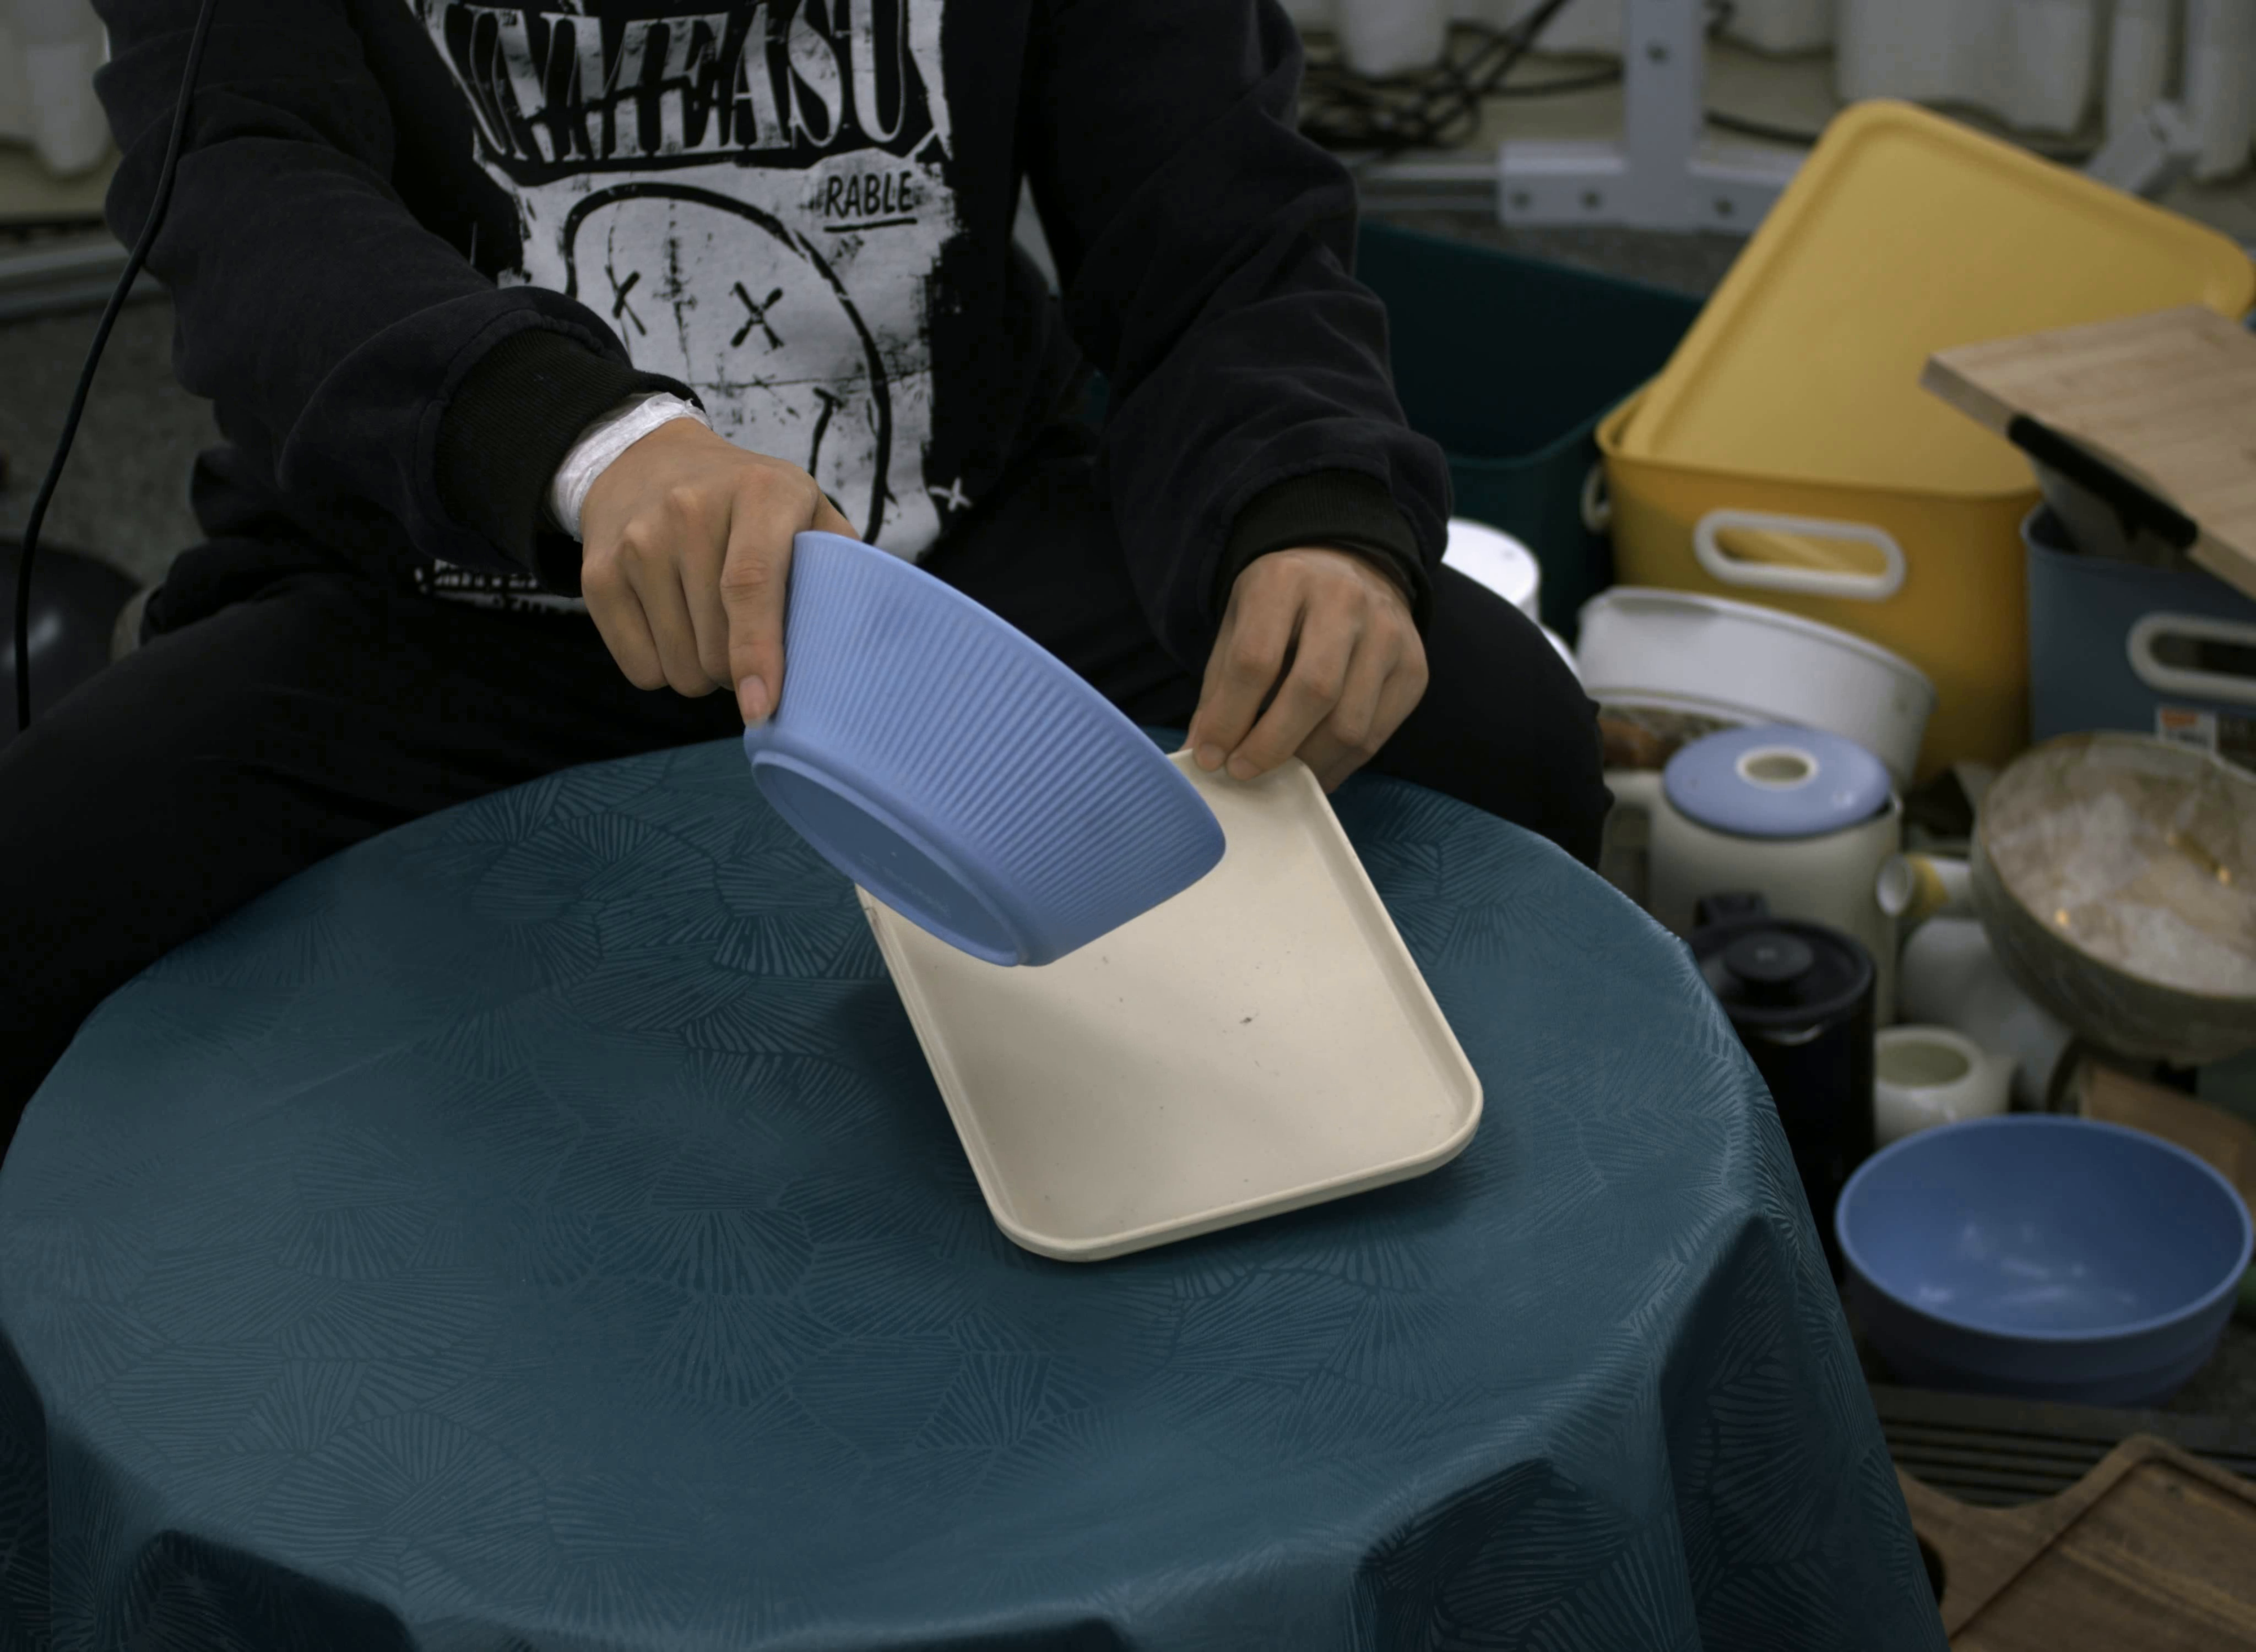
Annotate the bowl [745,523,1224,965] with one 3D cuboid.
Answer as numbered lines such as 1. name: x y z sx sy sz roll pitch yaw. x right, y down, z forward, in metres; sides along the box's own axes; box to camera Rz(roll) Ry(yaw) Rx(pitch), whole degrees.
1. bowl: -0.058 -0.016 1.809 0.176 0.174 0.071 25 71 42

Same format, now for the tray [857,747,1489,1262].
1. tray: 0.012 0.059 1.916 0.171 0.017 0.243 -13 38 -11
